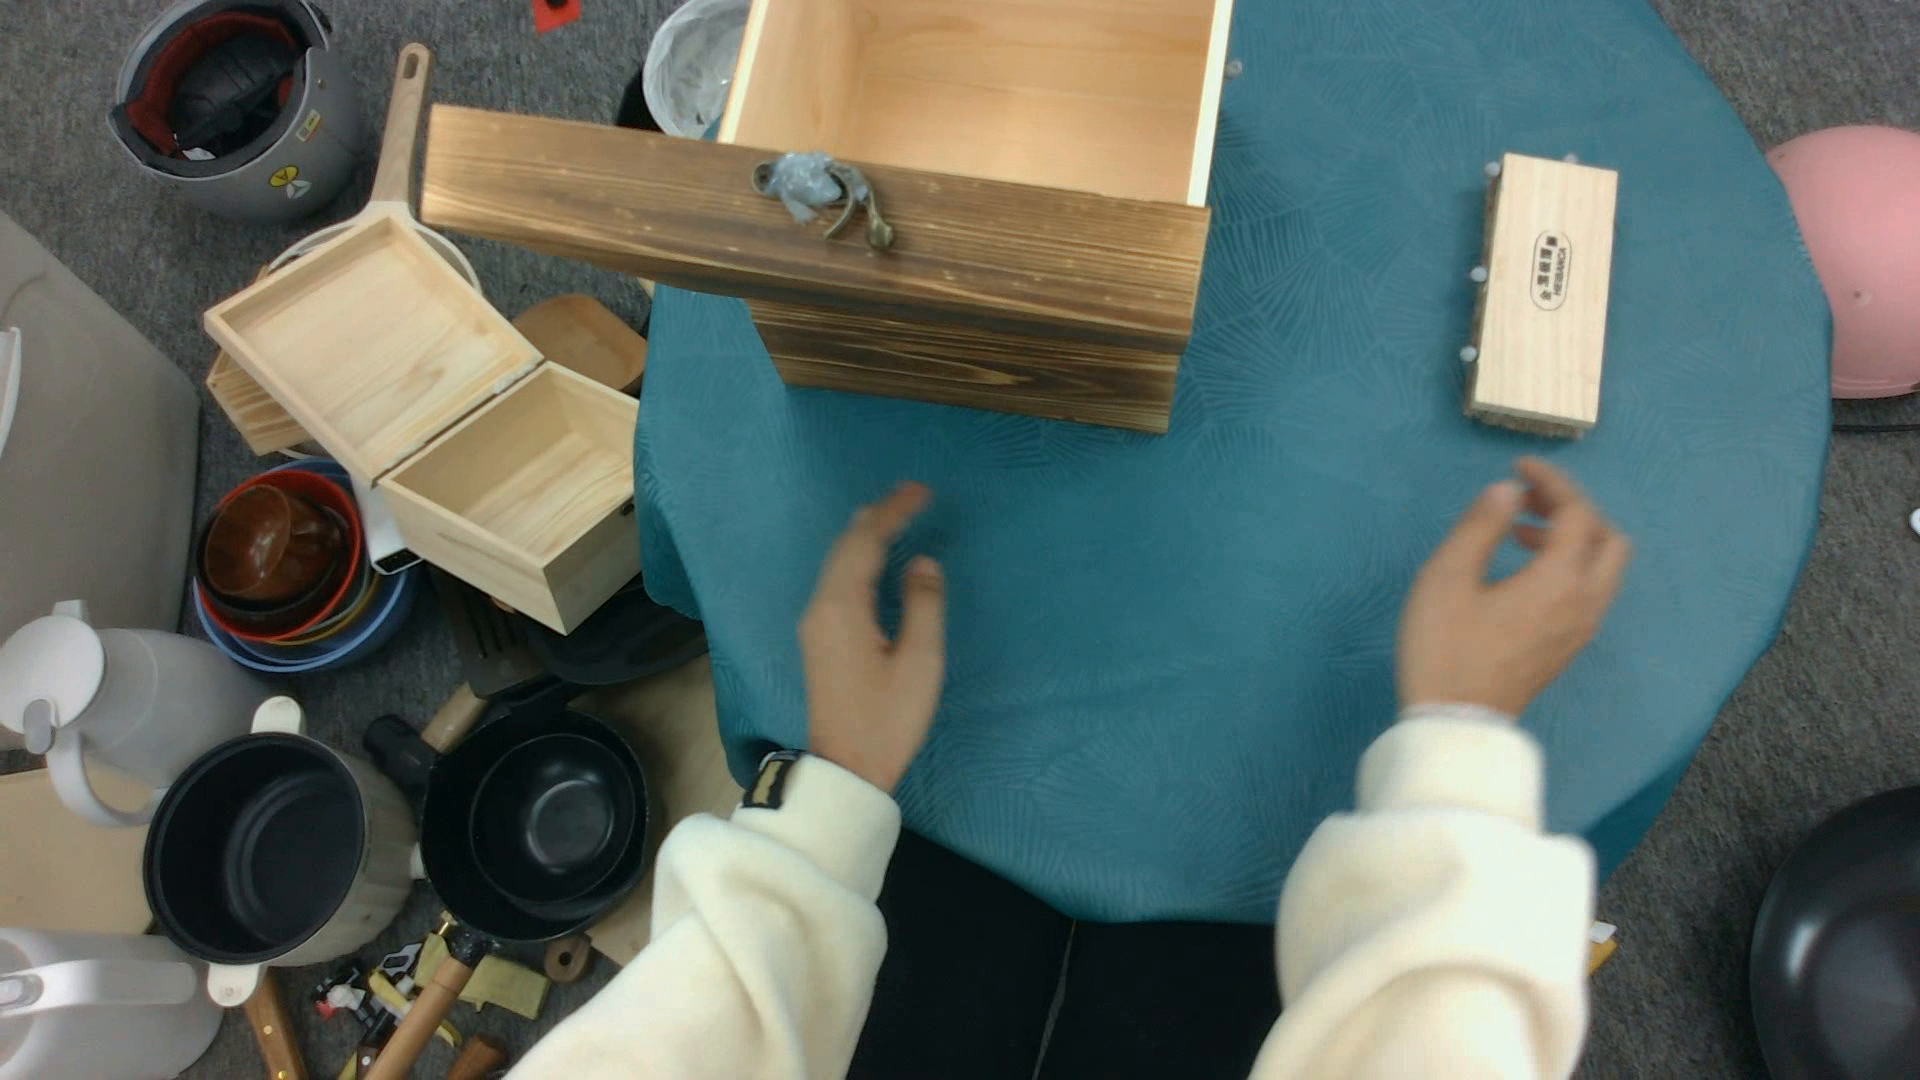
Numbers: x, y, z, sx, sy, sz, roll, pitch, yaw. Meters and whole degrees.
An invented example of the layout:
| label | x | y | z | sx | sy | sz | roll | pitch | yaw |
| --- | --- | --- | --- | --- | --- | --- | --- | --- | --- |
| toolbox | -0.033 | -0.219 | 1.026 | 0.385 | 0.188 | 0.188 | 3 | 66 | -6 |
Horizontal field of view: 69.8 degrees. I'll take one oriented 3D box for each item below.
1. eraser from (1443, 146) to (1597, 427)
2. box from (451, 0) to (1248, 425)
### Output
| label | x | y | z | sx | sy | sz | roll | pitch | yaw |
| --- | --- | --- | --- | --- | --- | --- | --- | --- | --- |
| eraser | 0.279 | -0.127 | 0.689 | 0.057 | 0.029 | 0.139 | 13 | 74 | 5 |
| box | -0.003 | -0.173 | 0.547 | 0.208 | 0.374 | 0.323 | 8 | 72 | 6 |
